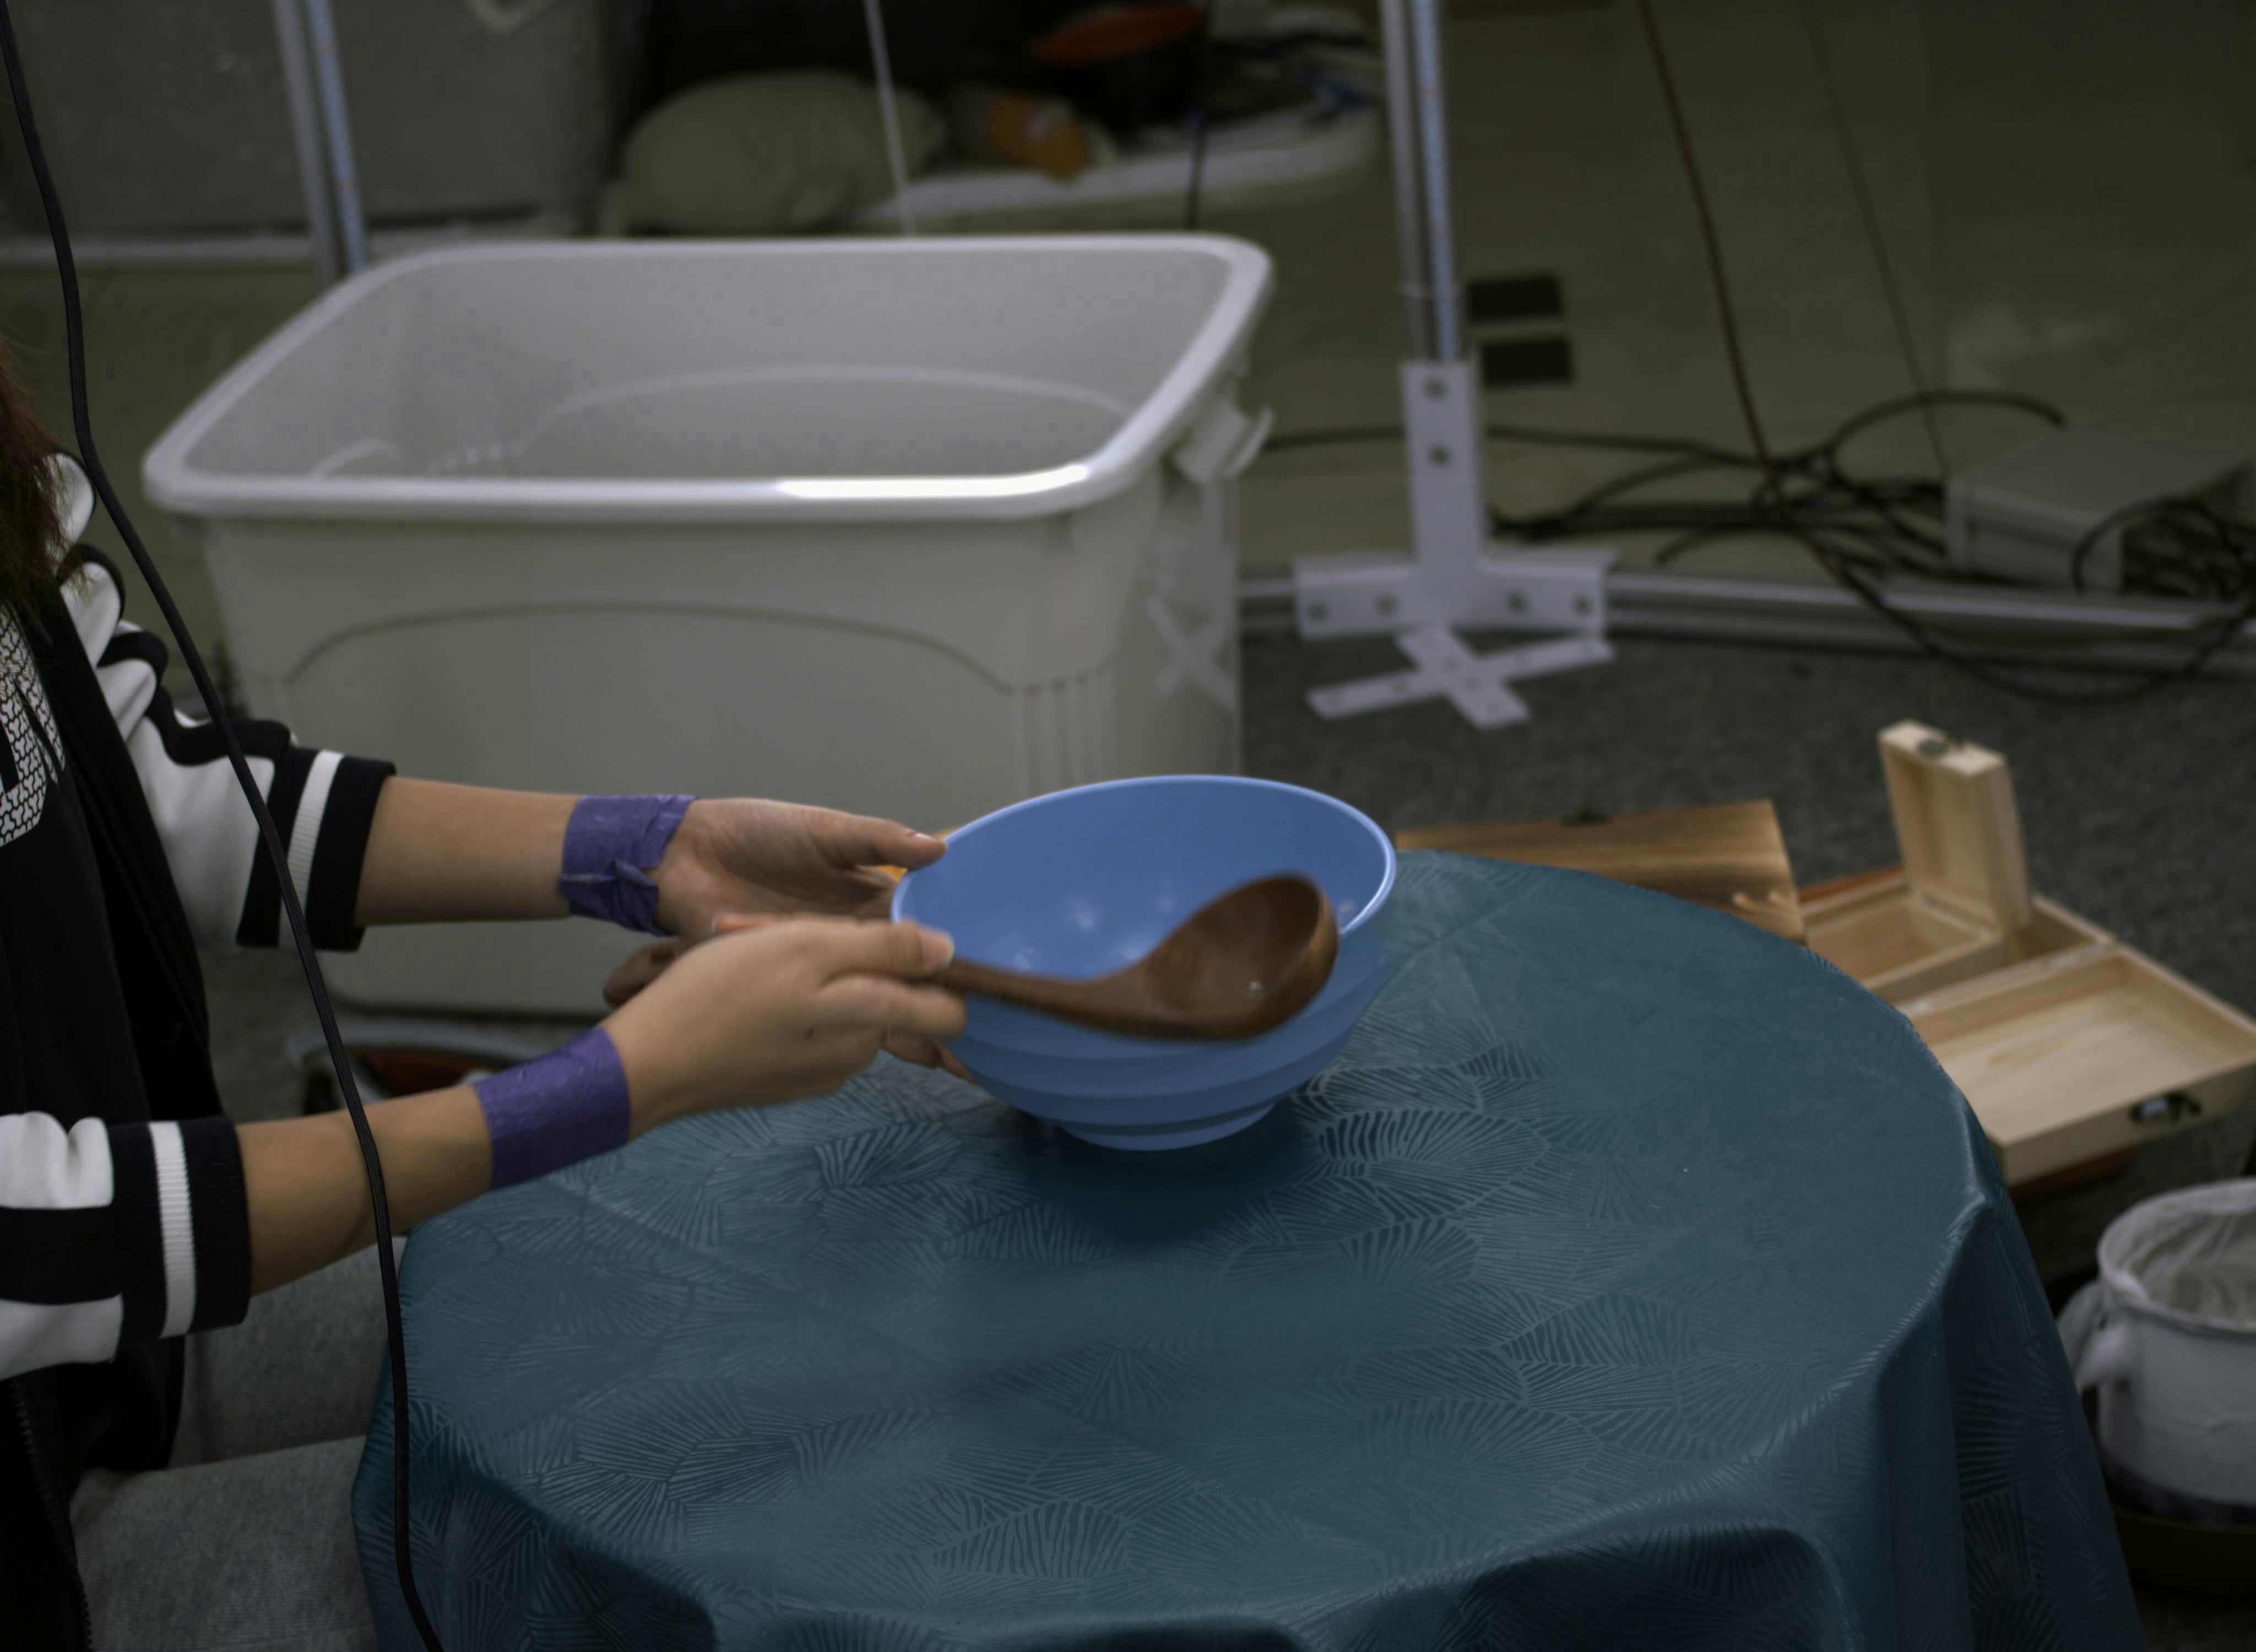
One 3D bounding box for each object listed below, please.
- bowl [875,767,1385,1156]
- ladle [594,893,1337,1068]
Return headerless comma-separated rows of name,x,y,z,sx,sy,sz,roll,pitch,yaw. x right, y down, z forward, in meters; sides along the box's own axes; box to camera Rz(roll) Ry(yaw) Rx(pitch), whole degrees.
bowl,0.003,0.064,2.197,0.196,0.097,0.193,-2,30,1
ladle,-0.055,0.048,1.989,0.260,0.066,0.075,5,24,-12
